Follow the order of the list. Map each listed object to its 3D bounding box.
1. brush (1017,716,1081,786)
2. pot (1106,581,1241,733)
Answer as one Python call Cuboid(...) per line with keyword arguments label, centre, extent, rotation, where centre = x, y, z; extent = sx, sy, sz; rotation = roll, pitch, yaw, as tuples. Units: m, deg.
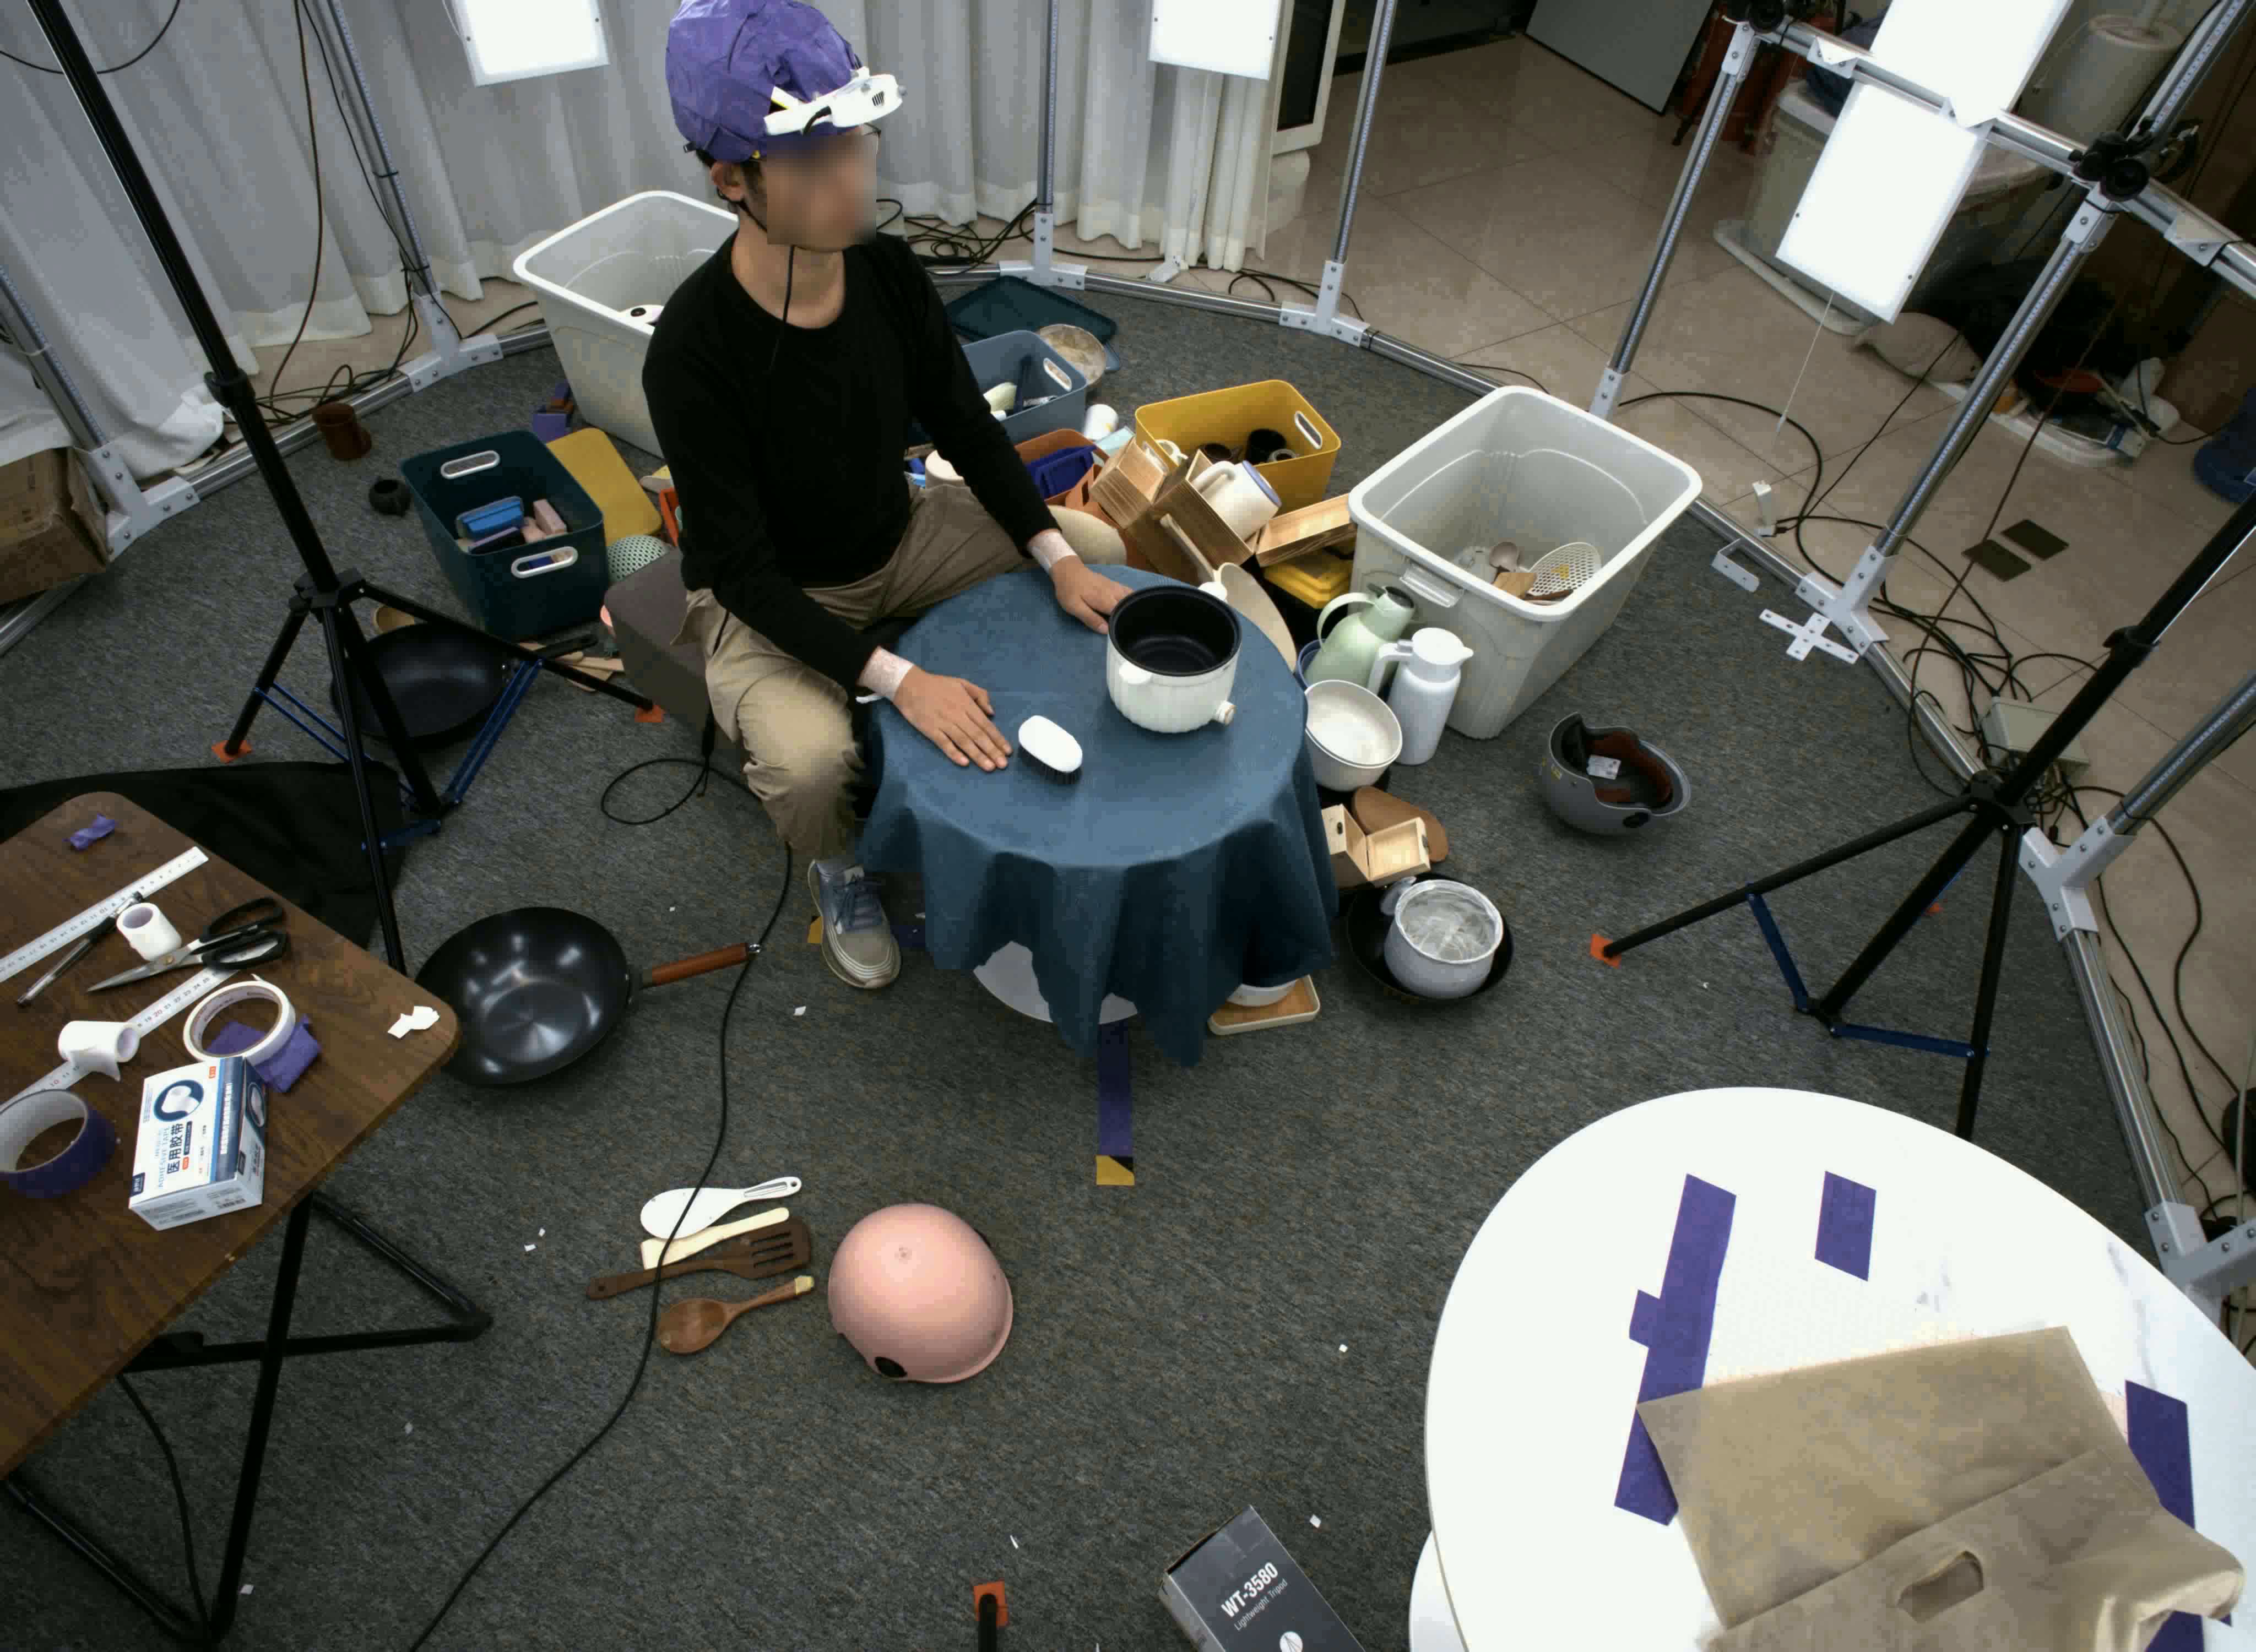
Cuboid(label="brush", centre=(-0.106, -0.107, 1.709), extent=(0.100, 0.071, 0.051), rotation=(35, 55, 23))
Cuboid(label="pot", centre=(0.064, -0.224, 1.779), extent=(0.192, 0.139, 0.244), rotation=(26, 53, 20))
